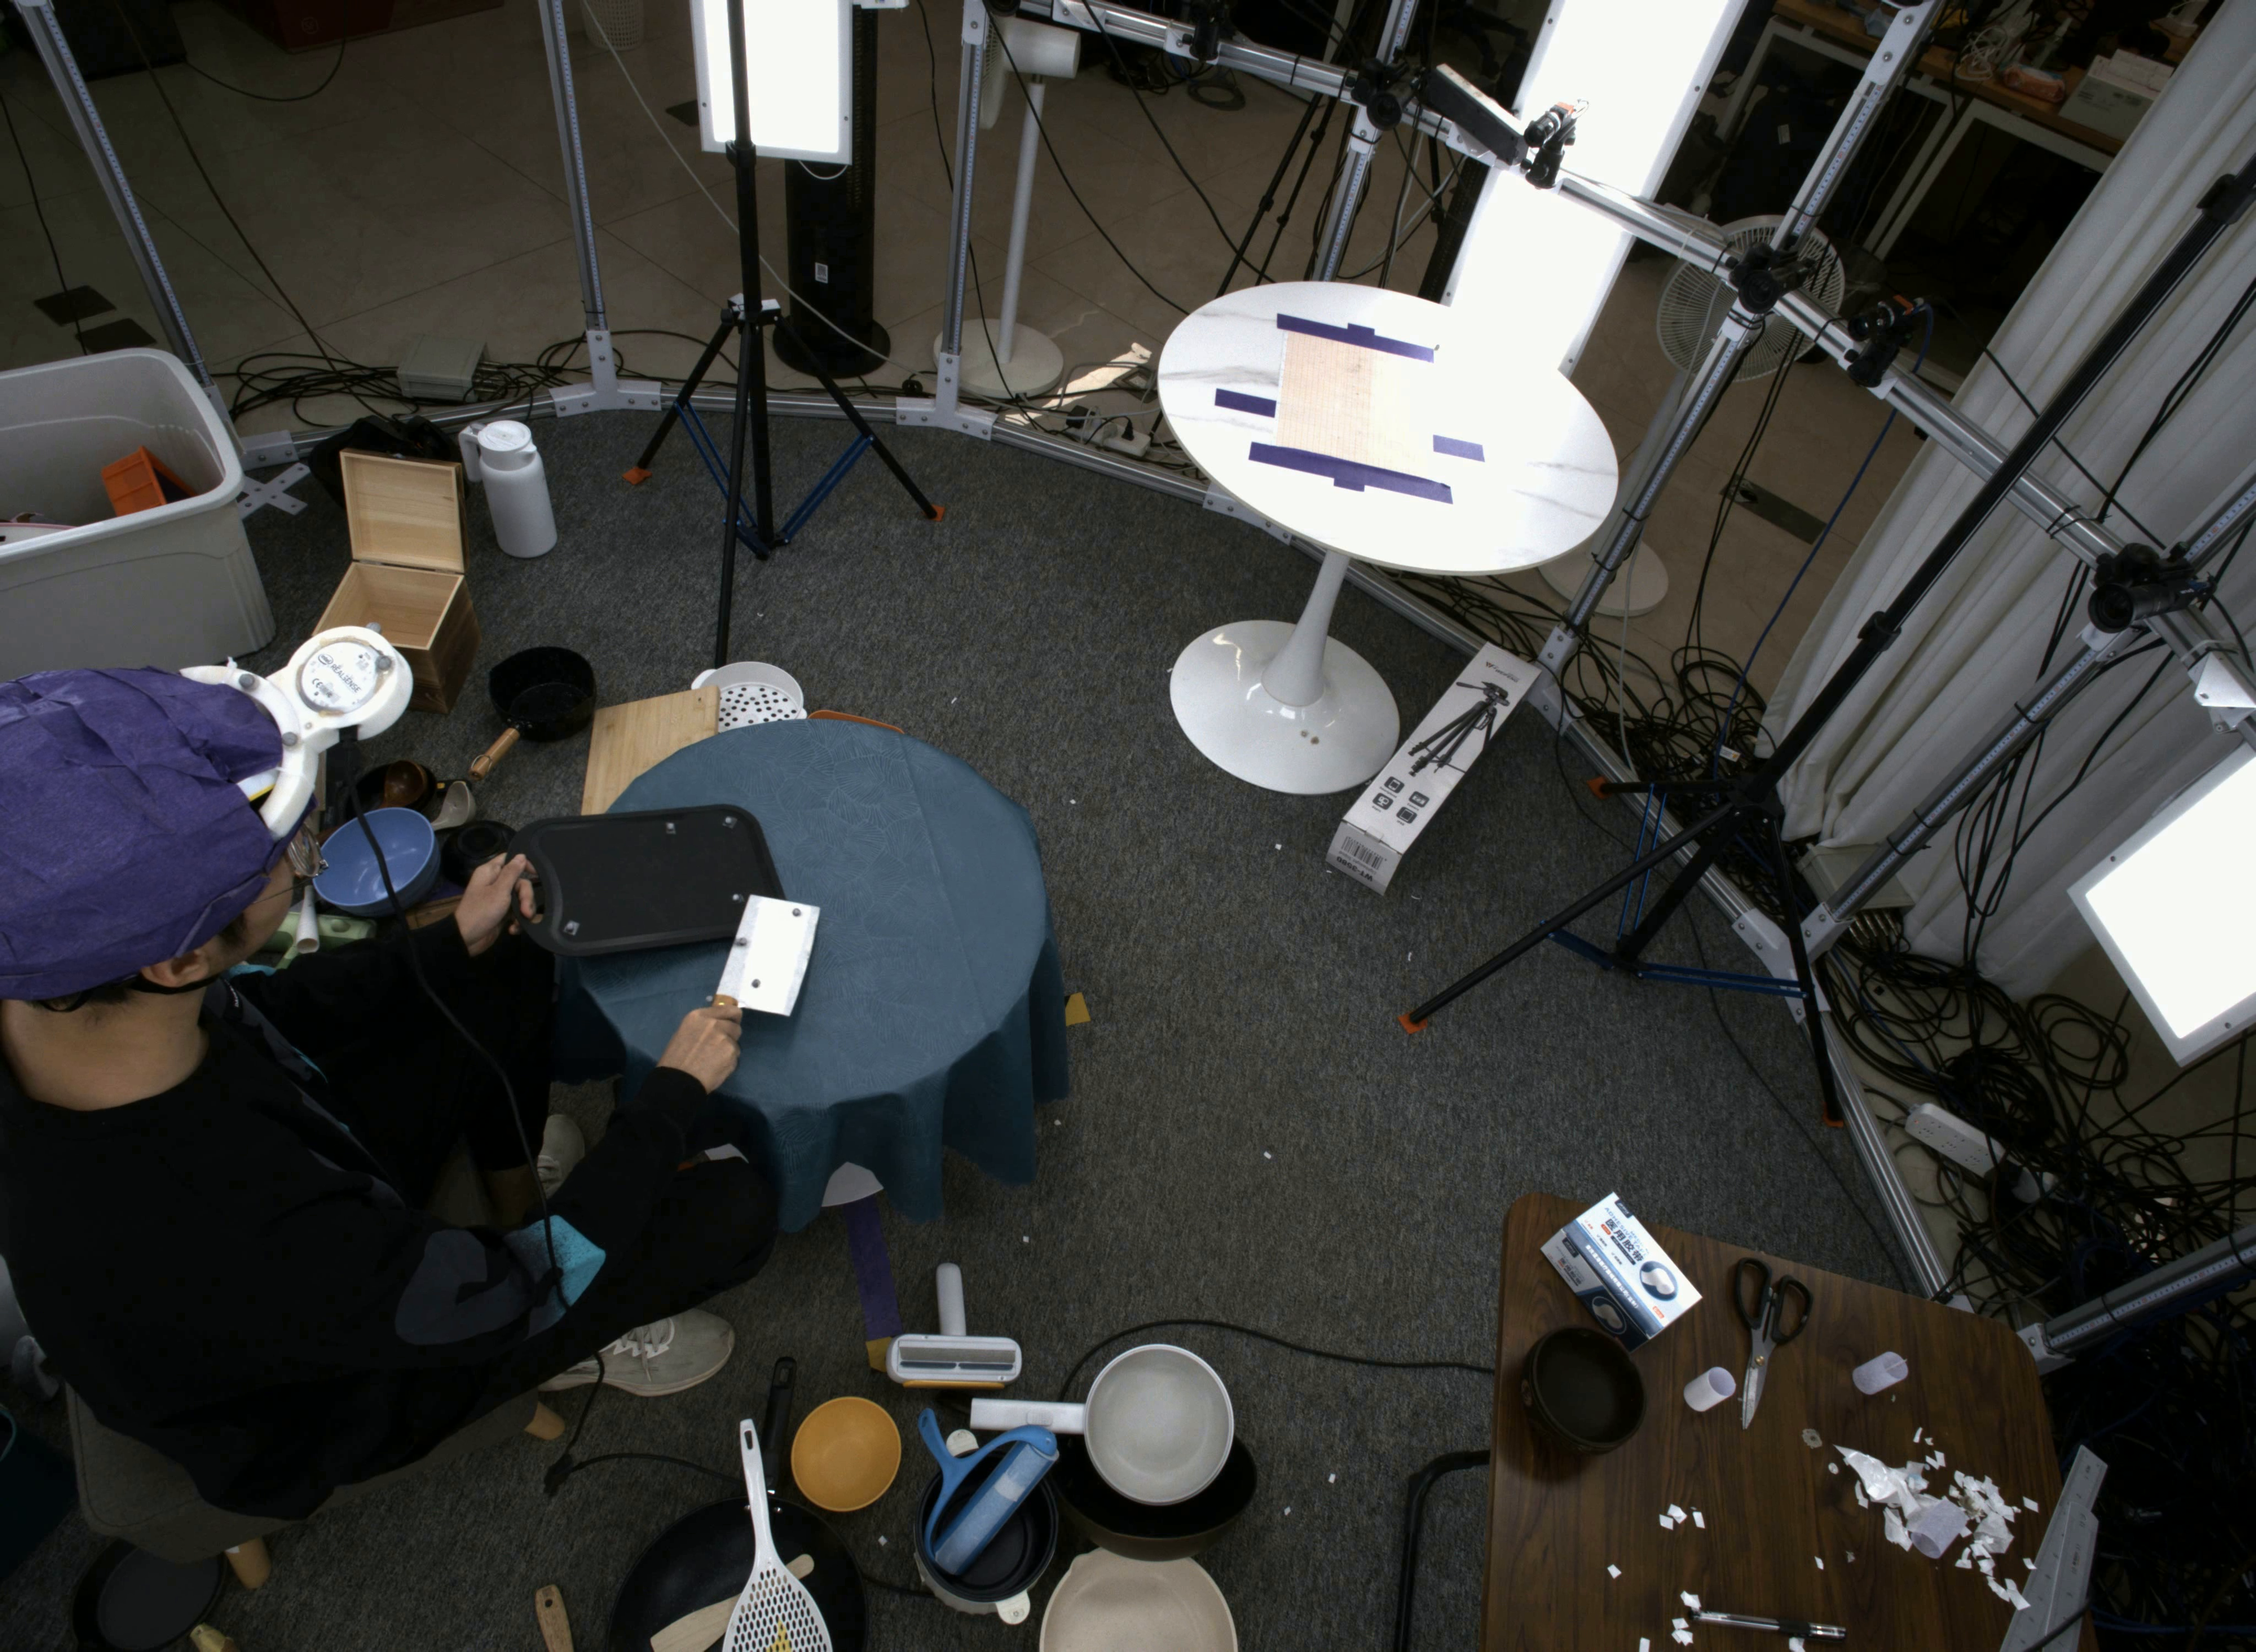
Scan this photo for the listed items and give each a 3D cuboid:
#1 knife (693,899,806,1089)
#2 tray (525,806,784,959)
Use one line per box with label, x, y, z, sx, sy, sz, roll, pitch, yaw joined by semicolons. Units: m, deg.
knife;-0.435;0.187;1.513;0.093;0.021;0.299;11;38;-9
tray;-0.594;0.062;1.572;0.330;0.010;0.206;-6;55;-34
